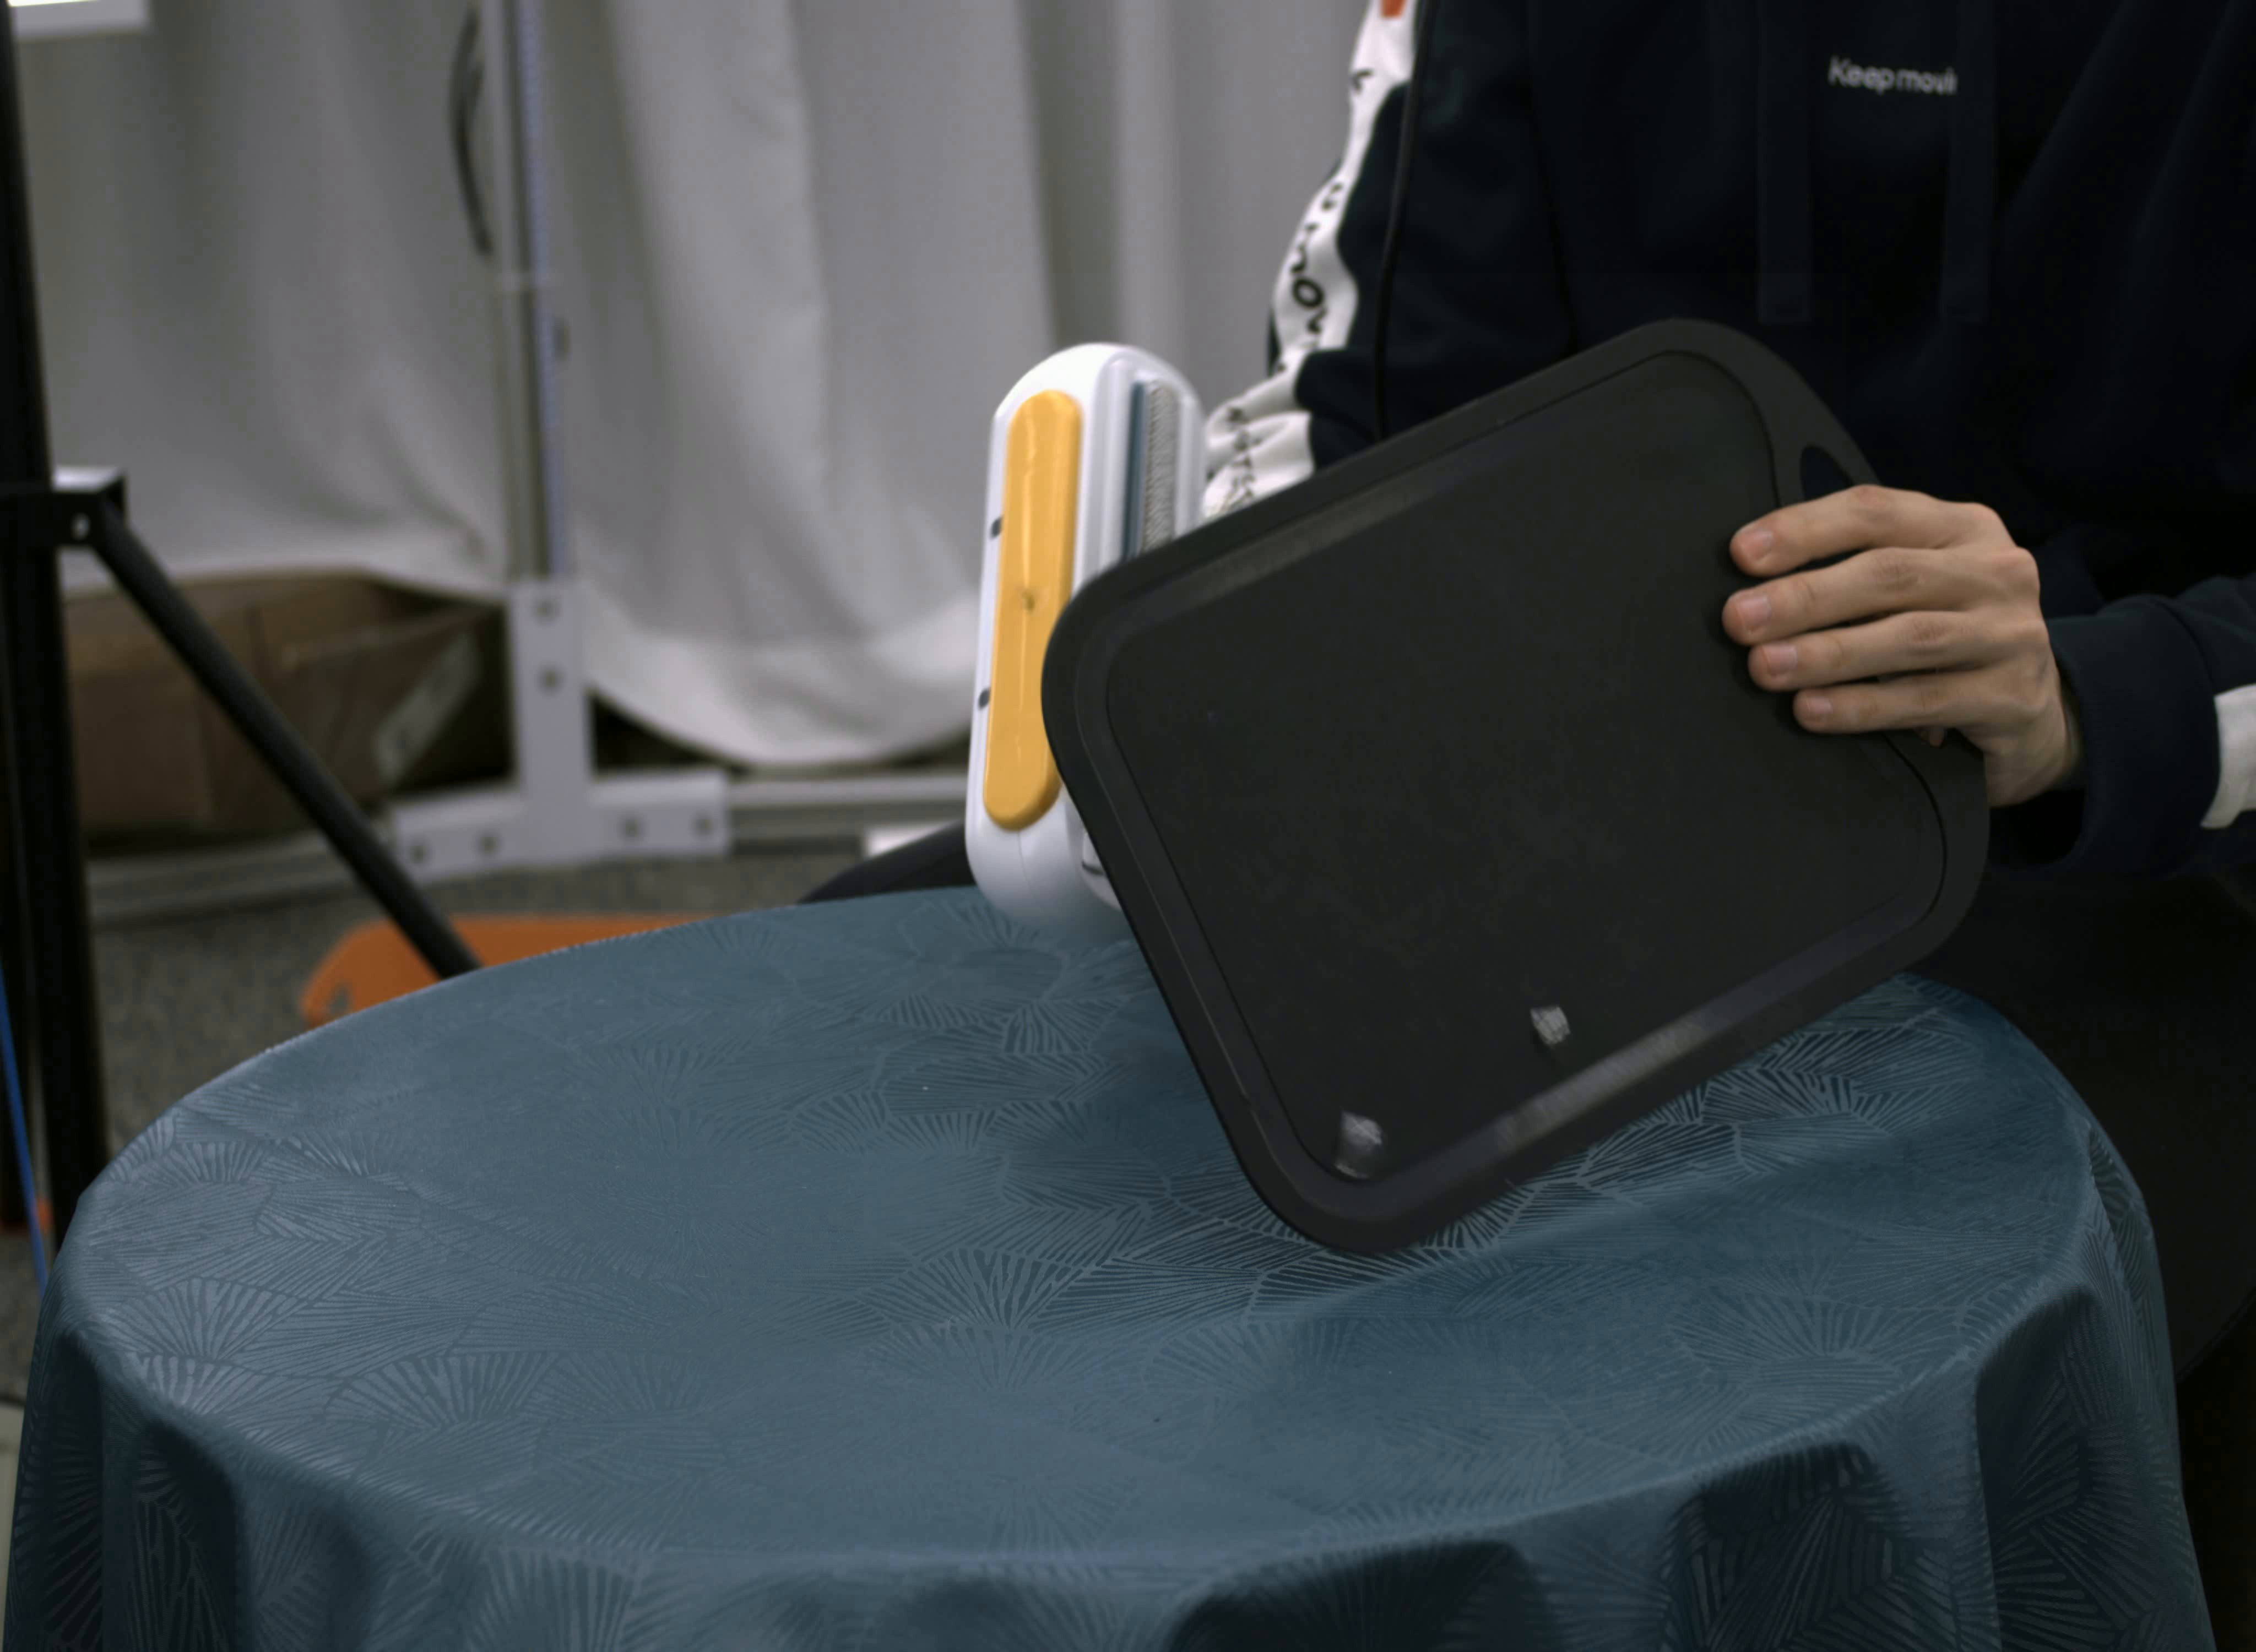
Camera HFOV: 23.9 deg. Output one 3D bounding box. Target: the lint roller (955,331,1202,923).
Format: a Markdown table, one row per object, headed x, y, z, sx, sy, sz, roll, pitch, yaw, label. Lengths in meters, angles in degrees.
| x | y | z | sx | sy | sz | roll | pitch | yaw | label |
| --- | --- | --- | --- | --- | --- | --- | --- | --- | --- |
| 0.010 | -0.039 | 1.716 | 0.075 | 0.195 | 0.187 | -16 | -31 | 29 | lint roller |

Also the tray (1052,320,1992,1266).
| x | y | z | sx | sy | sz | roll | pitch | yaw | label |
| --- | --- | --- | --- | --- | --- | --- | --- | --- | --- |
| 0.127 | -0.019 | 1.541 | 0.319 | 0.212 | 0.010 | -26 | 0 | -34 | tray |
